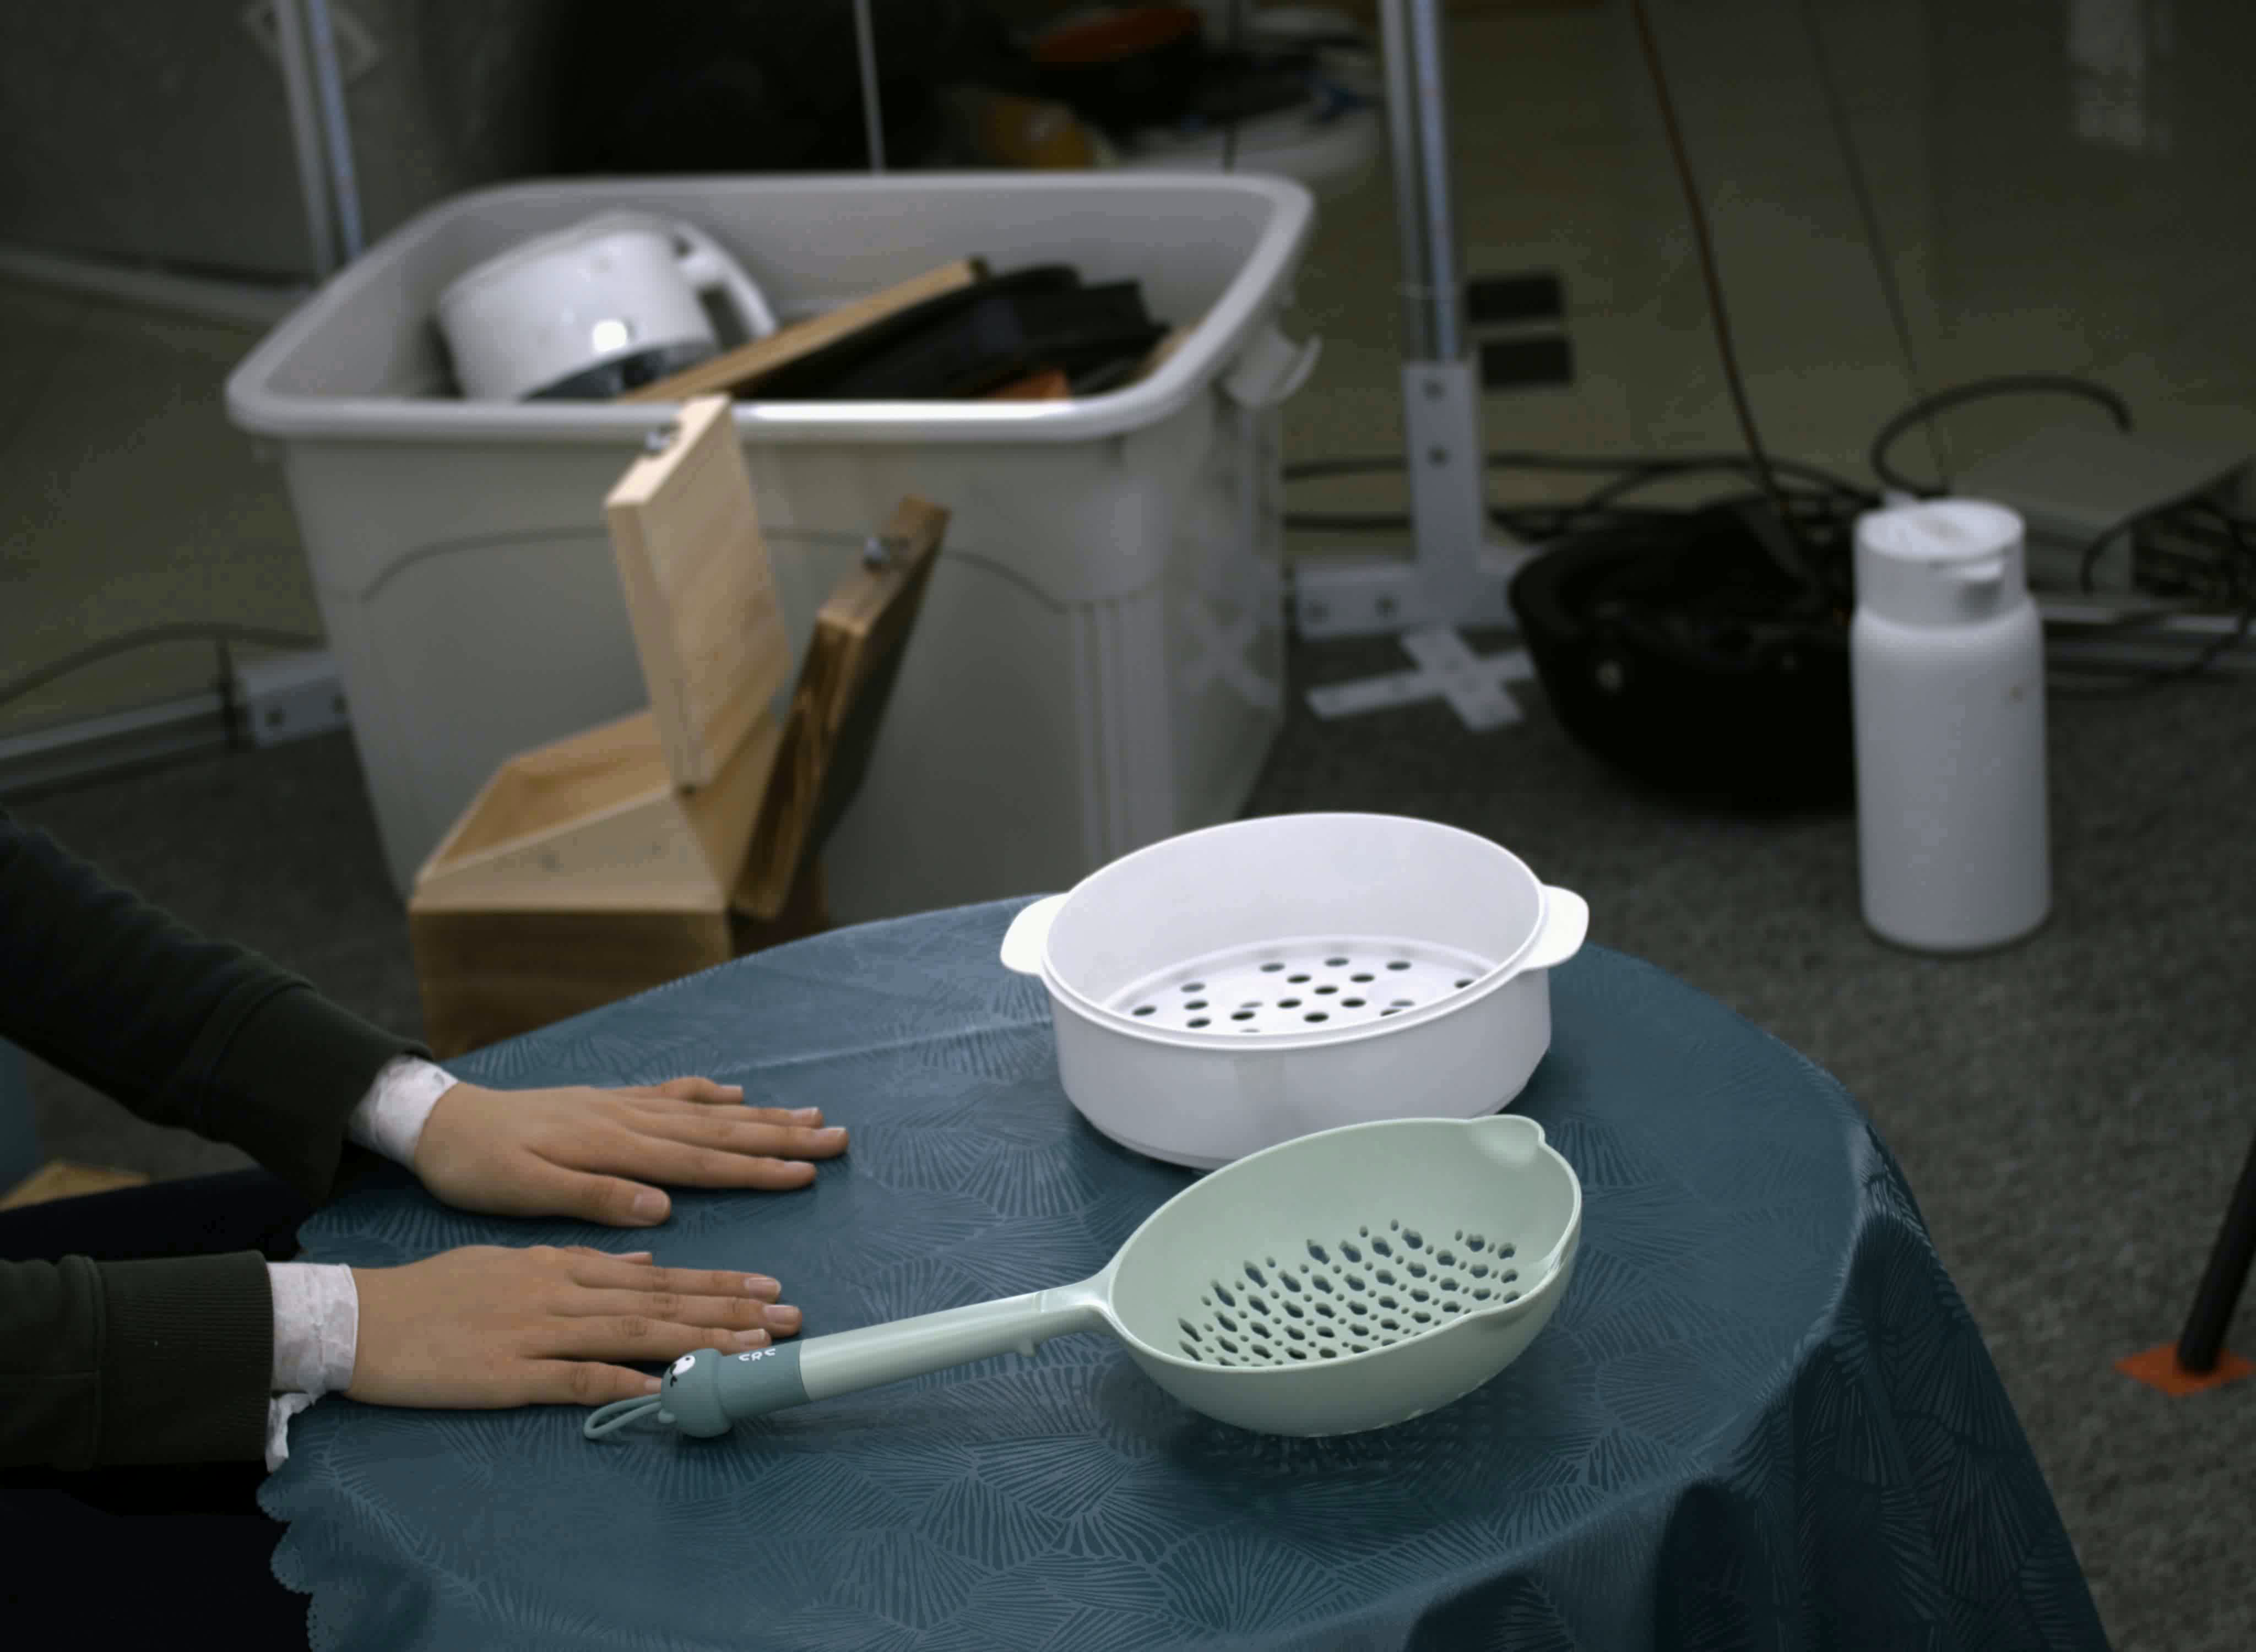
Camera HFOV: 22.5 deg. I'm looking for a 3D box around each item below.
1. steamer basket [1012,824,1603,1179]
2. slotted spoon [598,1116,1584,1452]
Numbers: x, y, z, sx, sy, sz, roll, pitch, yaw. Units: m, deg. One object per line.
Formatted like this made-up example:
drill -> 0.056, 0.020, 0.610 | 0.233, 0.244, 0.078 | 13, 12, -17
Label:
steamer basket -> 0.072, 0.069, 2.210 | 0.230, 0.070, 0.199 | -2, 24, 11
slotted spoon -> -0.016, 0.176, 2.001 | 0.358, 0.076, 0.167 | -4, 24, 5
